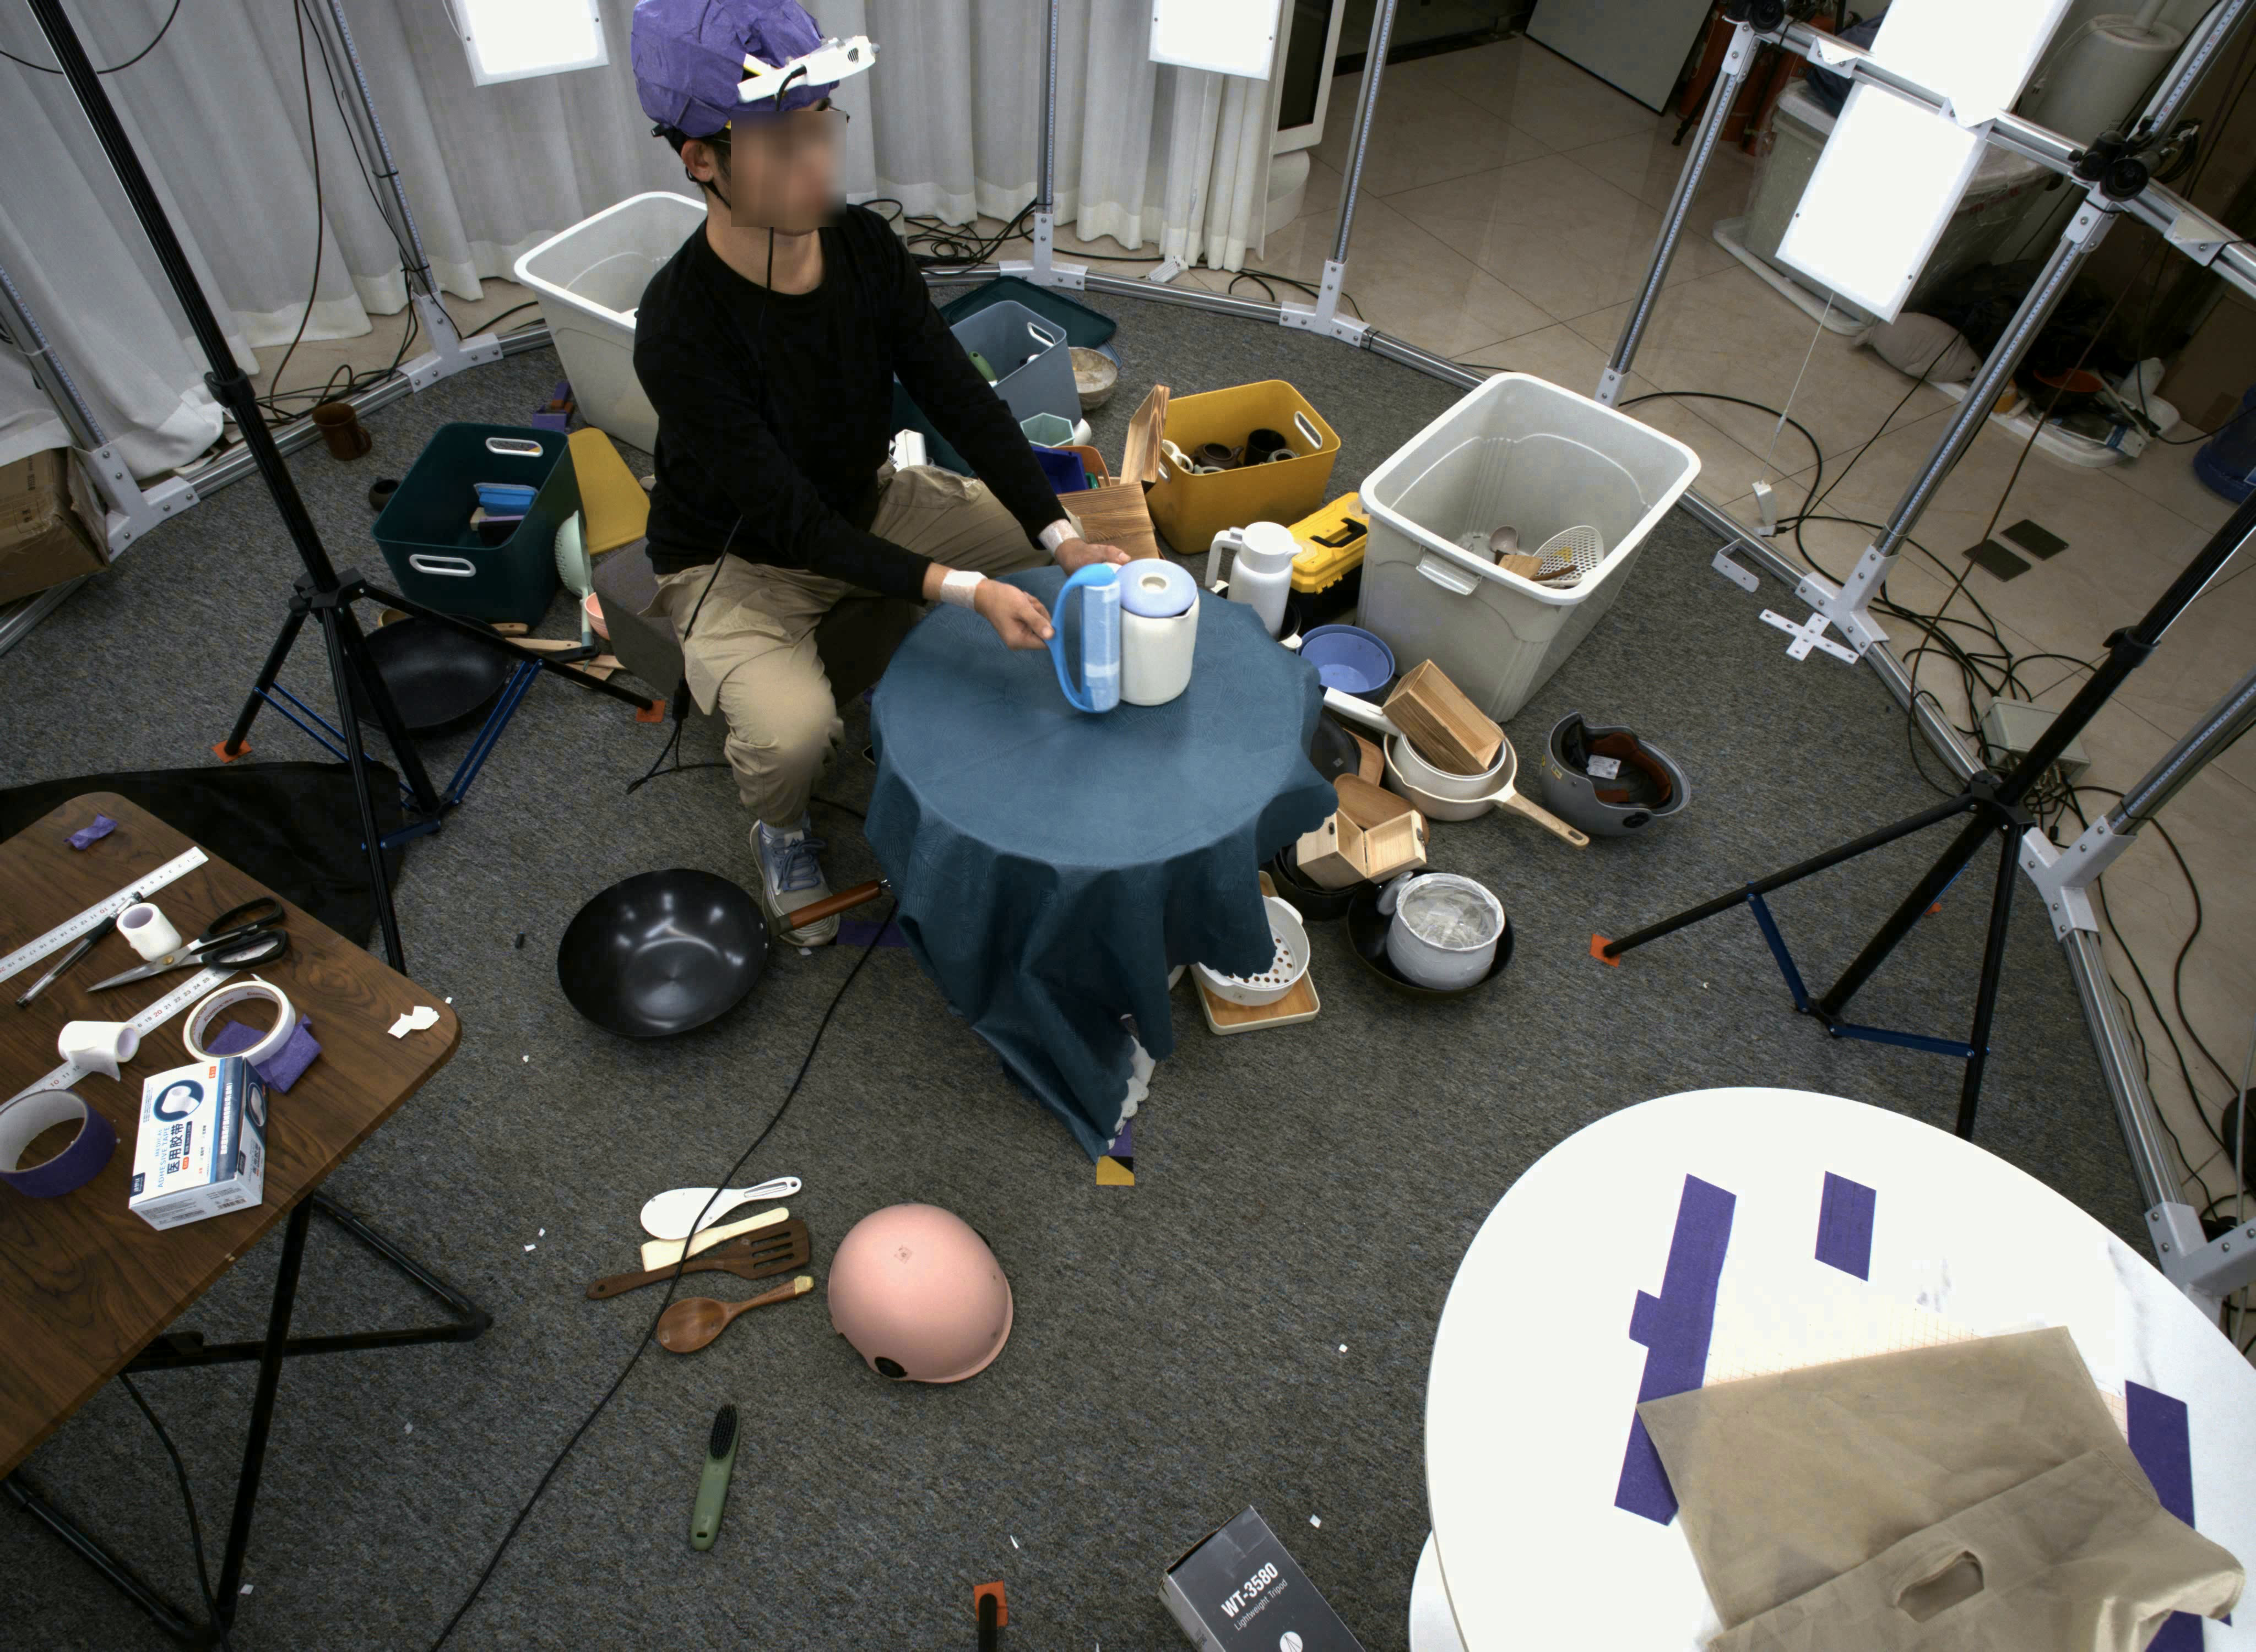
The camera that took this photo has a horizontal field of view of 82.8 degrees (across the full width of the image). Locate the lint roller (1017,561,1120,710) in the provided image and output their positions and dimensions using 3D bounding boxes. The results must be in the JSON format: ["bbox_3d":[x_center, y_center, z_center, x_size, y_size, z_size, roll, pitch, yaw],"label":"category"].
[{"bbox_3d":[-0.090,-0.271,1.753,0.182,0.223,0.069,19,45,24],"label":"lint roller"}]

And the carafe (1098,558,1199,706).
[{"bbox_3d":[0.014,-0.285,1.807,0.133,0.178,0.194,-31,56,-28],"label":"carafe"}]
